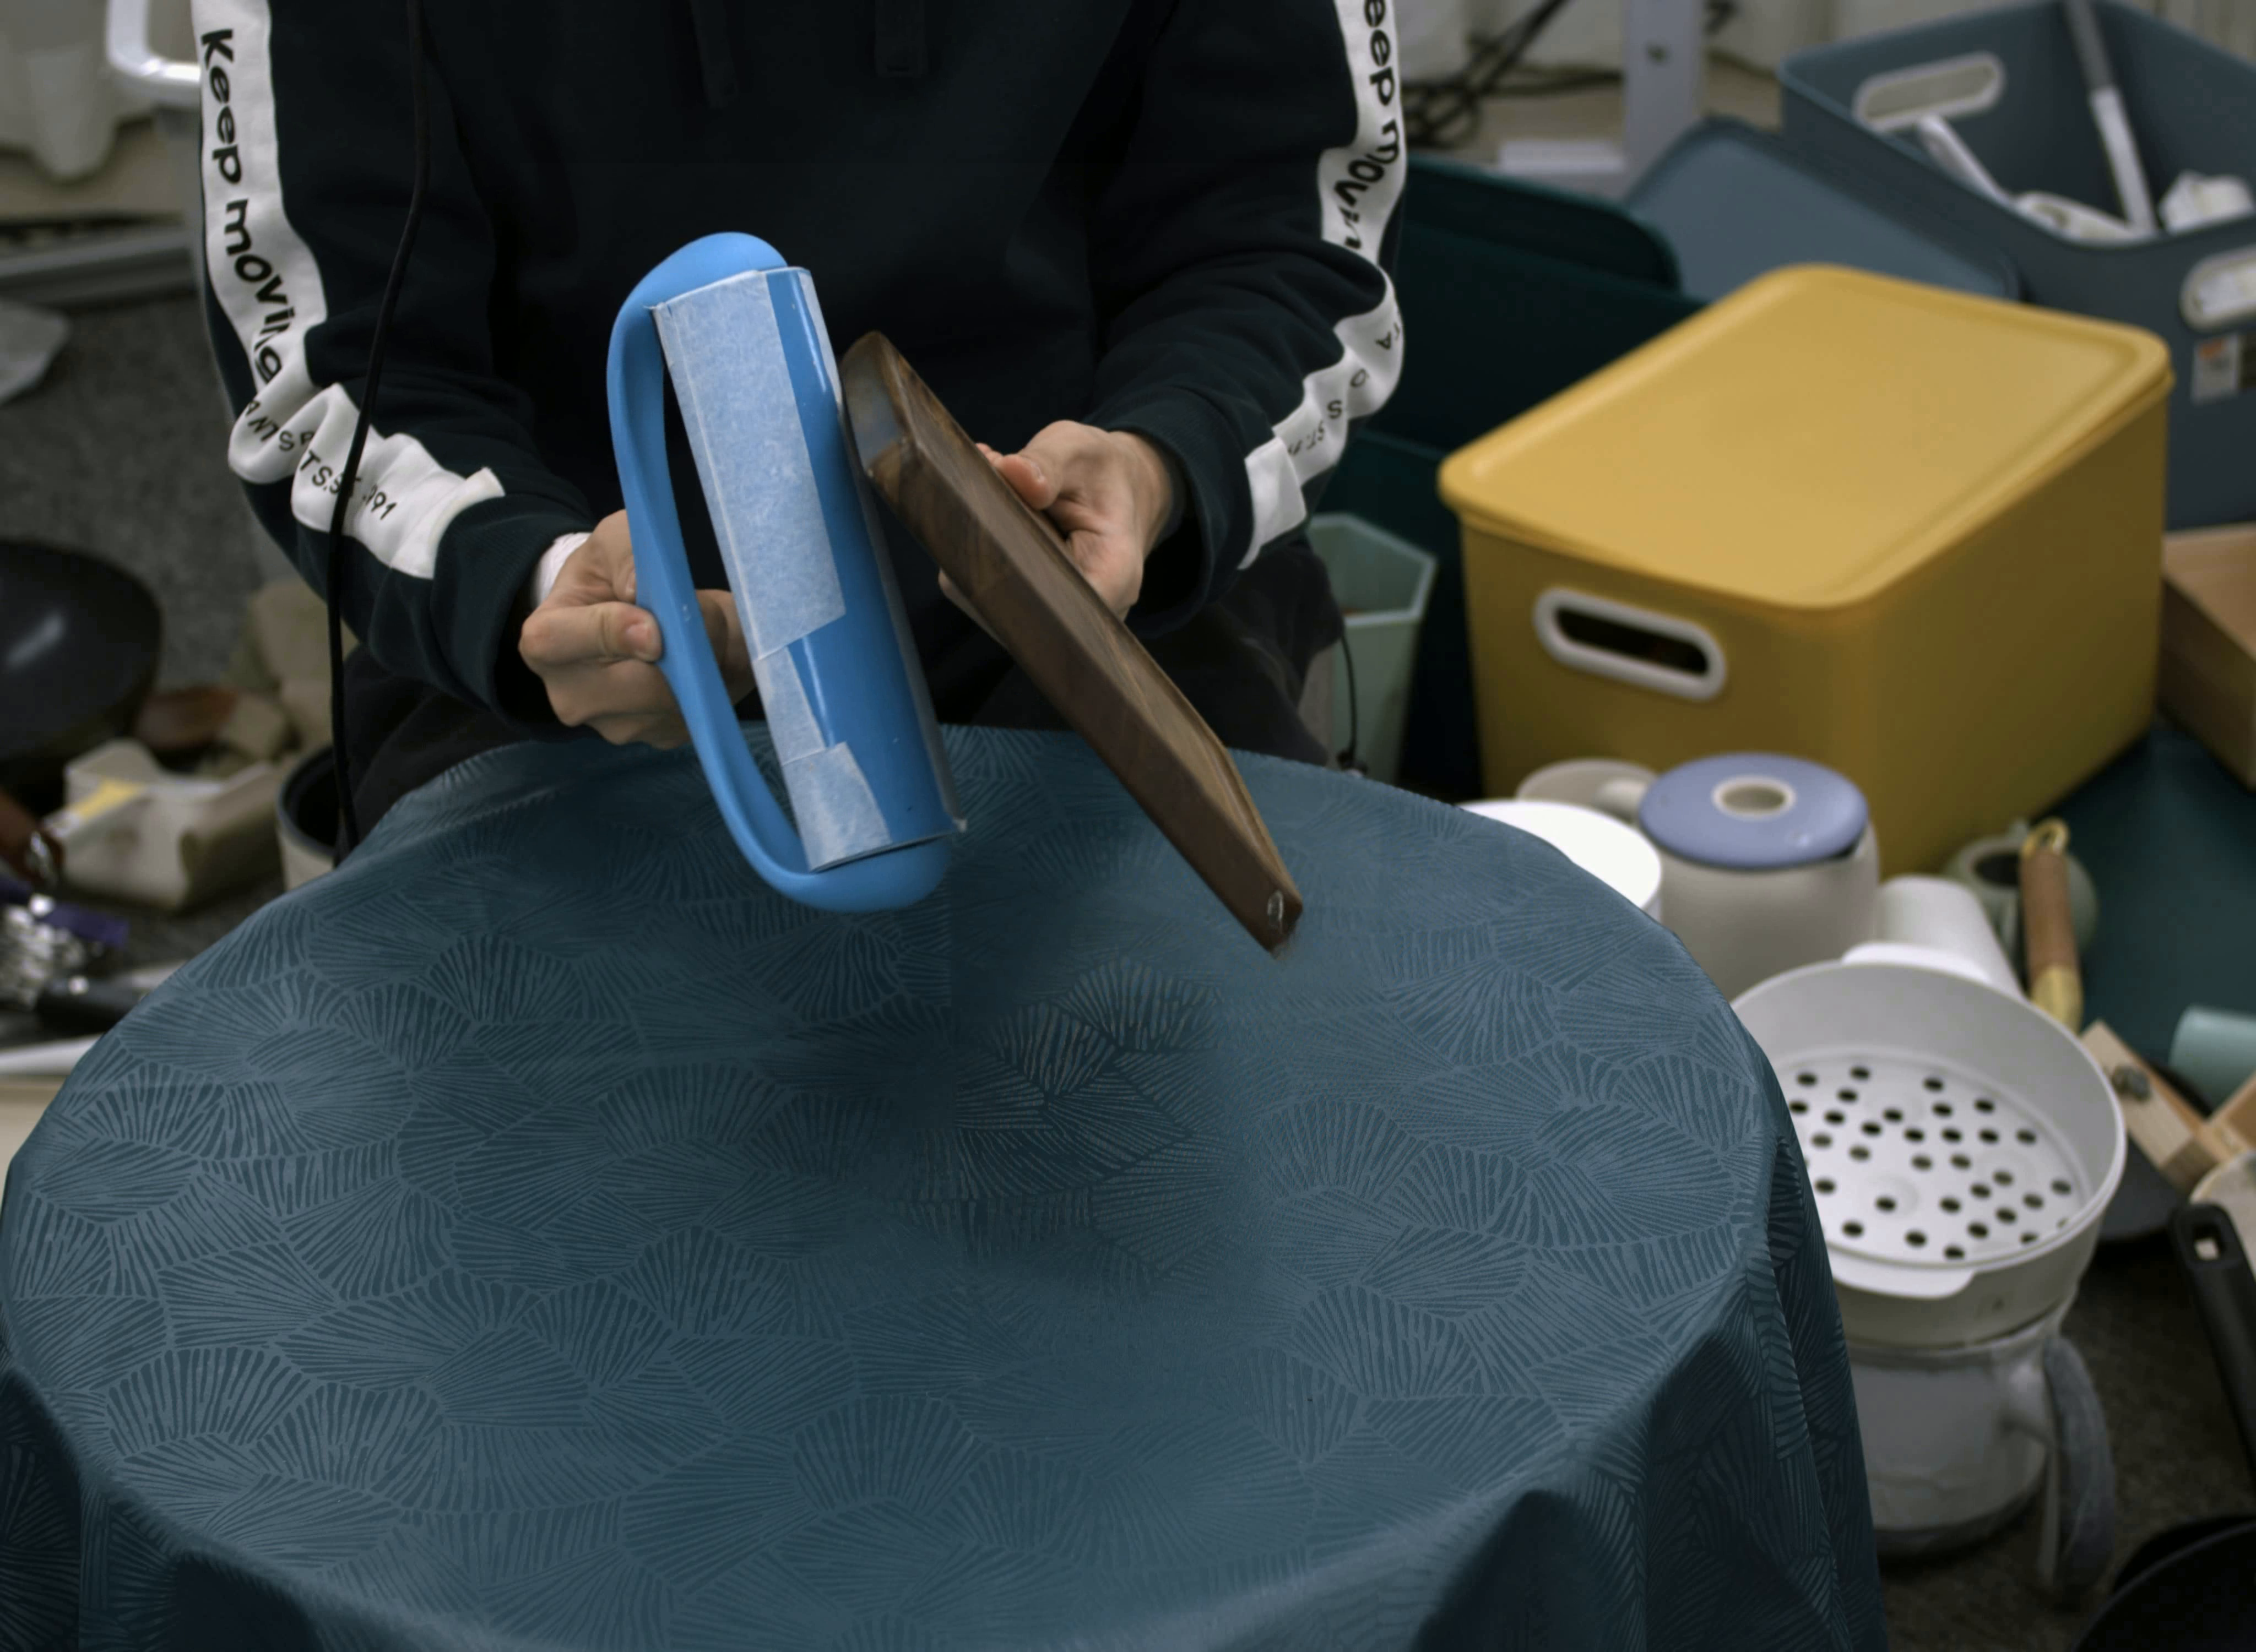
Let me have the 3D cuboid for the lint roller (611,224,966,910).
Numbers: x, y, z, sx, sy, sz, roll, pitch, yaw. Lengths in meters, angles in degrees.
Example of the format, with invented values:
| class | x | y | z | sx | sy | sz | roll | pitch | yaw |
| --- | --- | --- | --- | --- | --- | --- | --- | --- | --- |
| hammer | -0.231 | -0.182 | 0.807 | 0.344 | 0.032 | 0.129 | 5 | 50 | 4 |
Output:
| class | x | y | z | sx | sy | sz | roll | pitch | yaw |
| --- | --- | --- | --- | --- | --- | --- | --- | --- | --- |
| lint roller | -0.131 | -0.072 | 1.888 | 0.068 | 0.230 | 0.178 | -14 | -6 | -30 |

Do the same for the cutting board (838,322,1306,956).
| class | x | y | z | sx | sy | sz | roll | pitch | yaw |
| --- | --- | --- | --- | --- | --- | --- | --- | --- | --- |
| cutting board | -0.026 | -0.077 | 1.883 | 0.023 | 0.200 | 0.354 | -38 | 14 | 4 |
